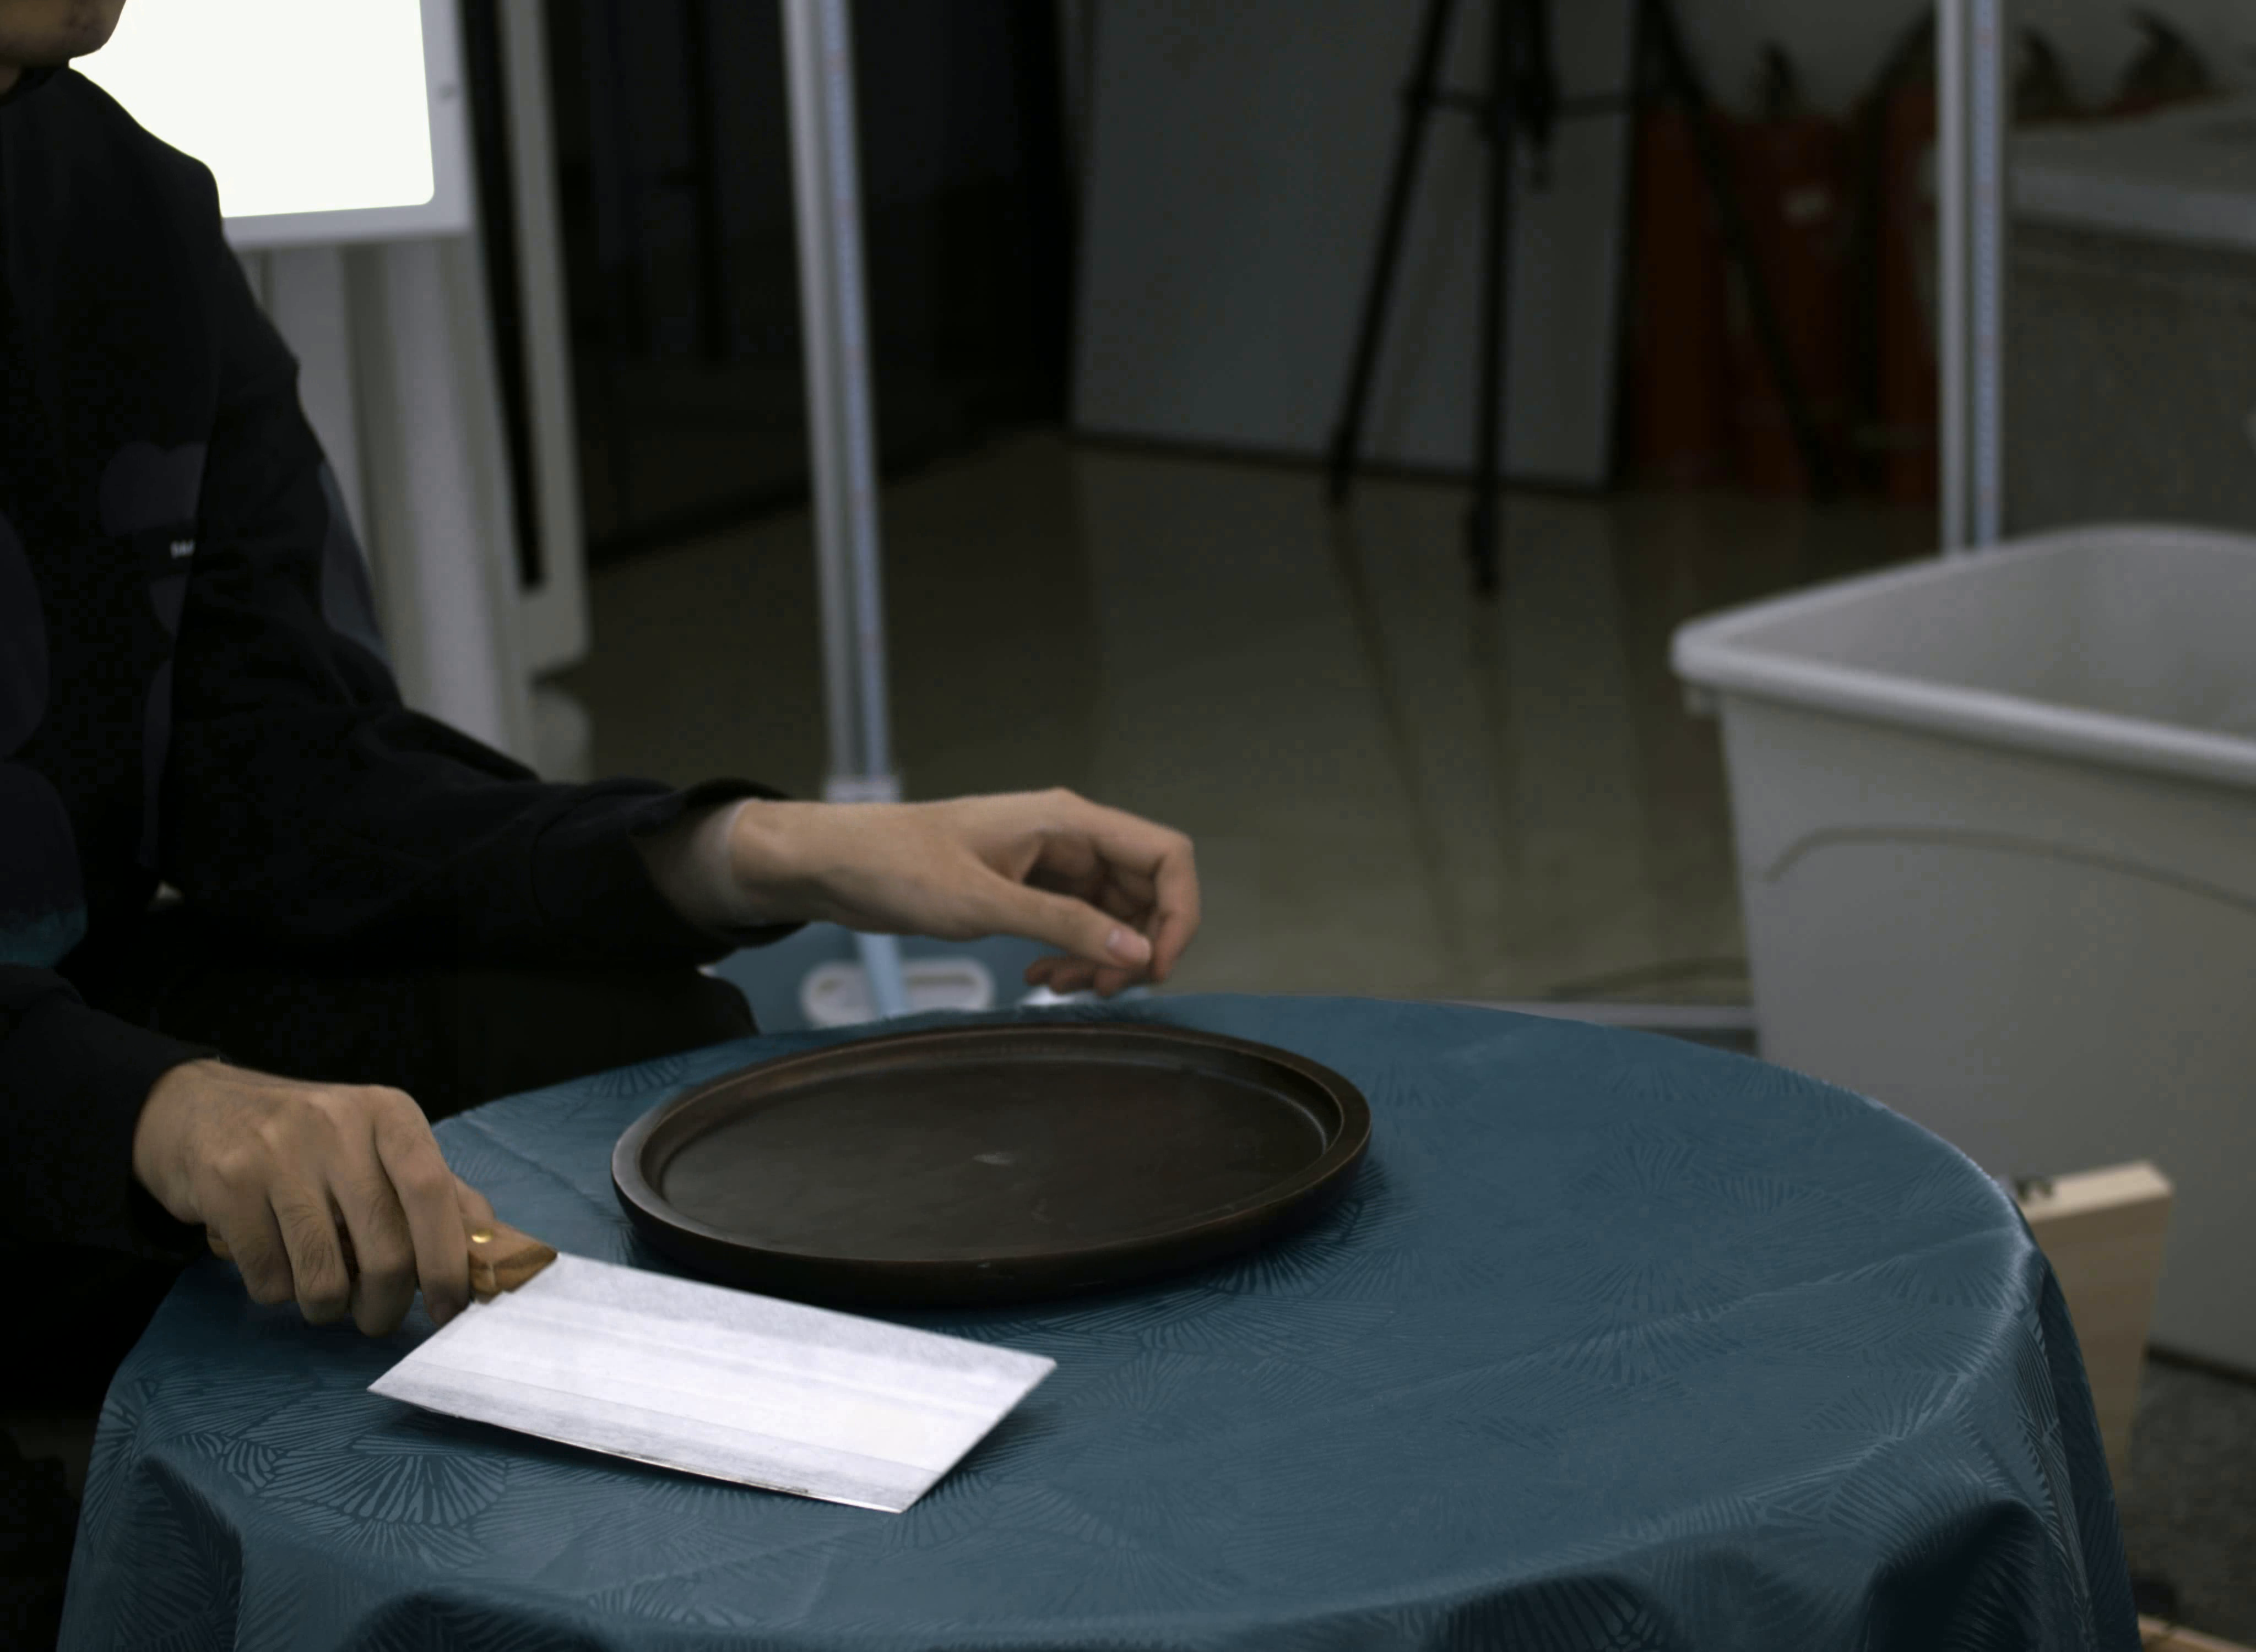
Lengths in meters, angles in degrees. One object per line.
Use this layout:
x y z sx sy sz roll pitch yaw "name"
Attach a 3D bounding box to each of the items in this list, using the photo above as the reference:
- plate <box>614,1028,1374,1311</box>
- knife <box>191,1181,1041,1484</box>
-0.043 0.111 1.773 0.251 0.029 0.255 -3 13 0 "plate"
-0.171 0.153 1.616 0.307 0.021 0.092 8 30 31 "knife"
